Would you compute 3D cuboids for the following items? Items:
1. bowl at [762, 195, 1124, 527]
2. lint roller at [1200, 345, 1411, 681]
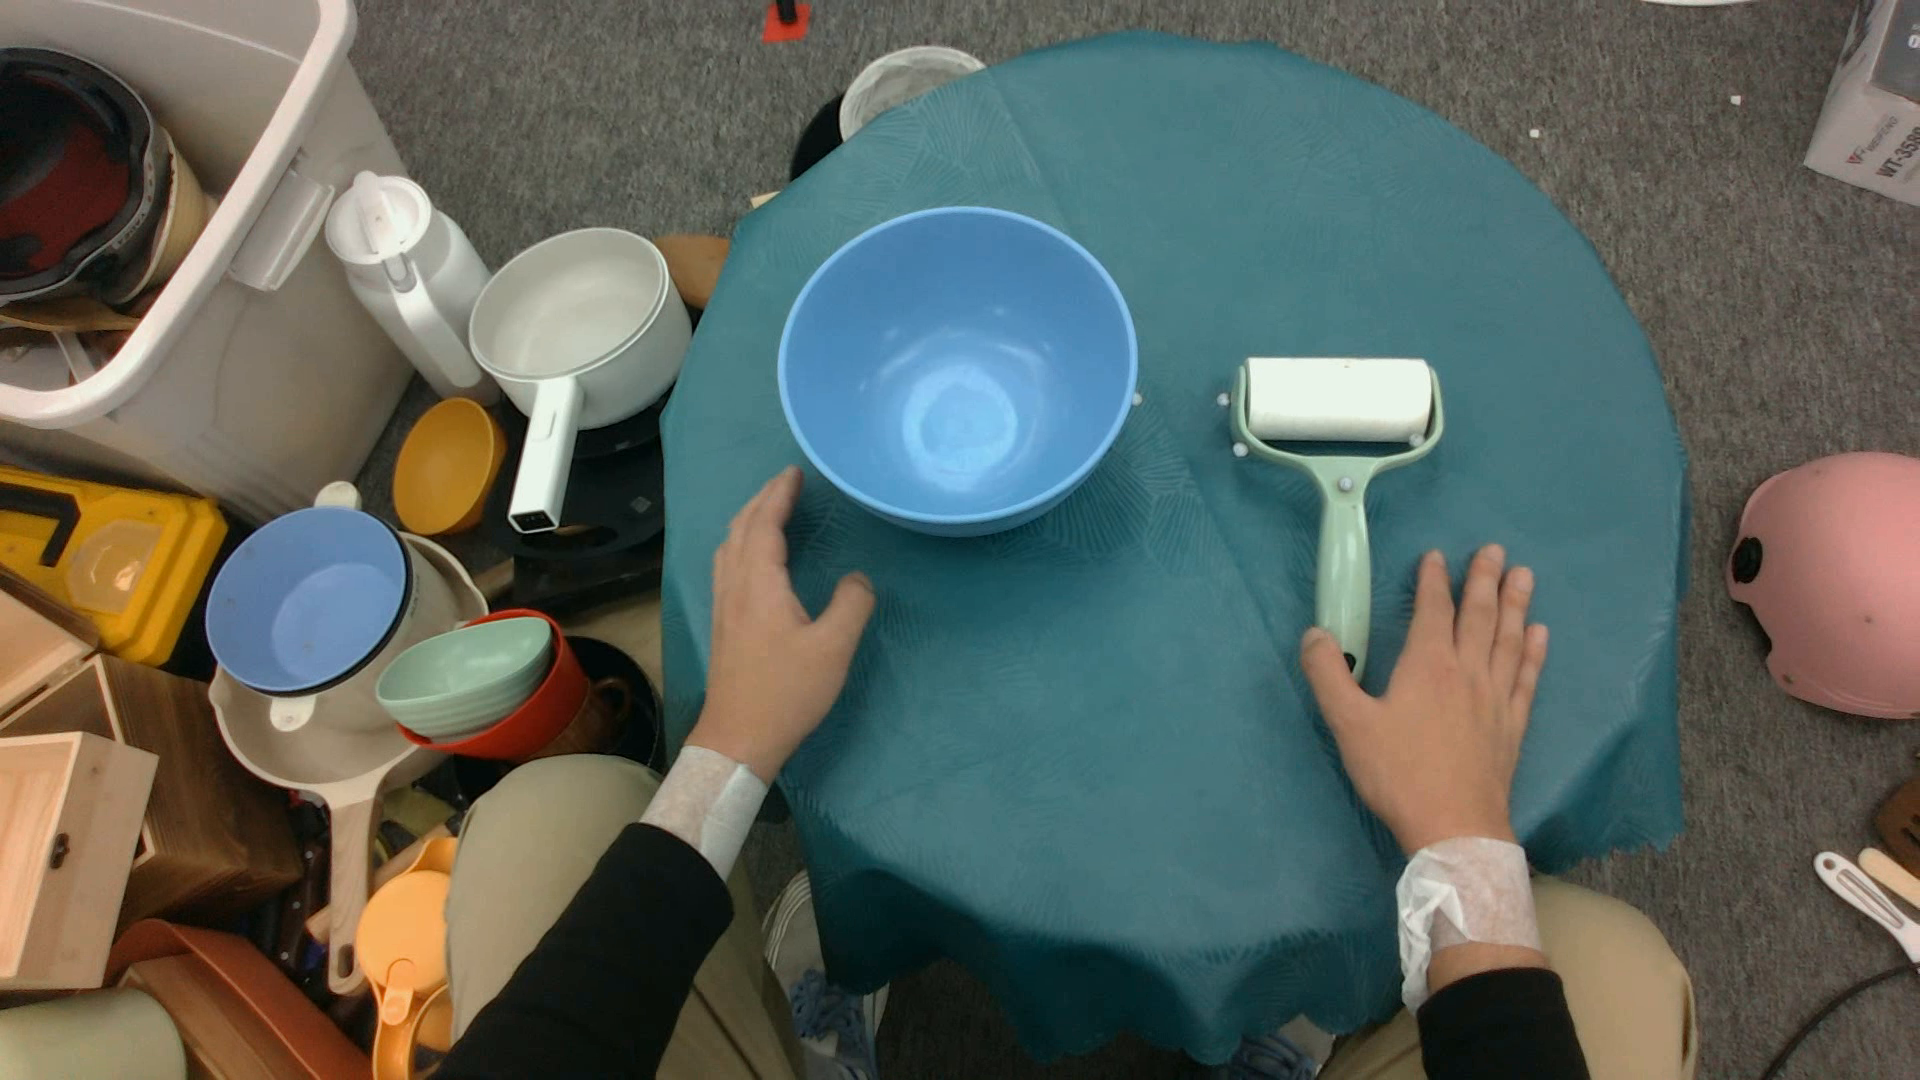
[{"bbox_3d":[-0.008,-0.088,0.786,0.196,0.095,0.197,0,67,1],"label":"bowl"},{"bbox_3d":[0.197,-0.020,0.777,0.116,0.048,0.198,1,69,2],"label":"lint roller"}]
